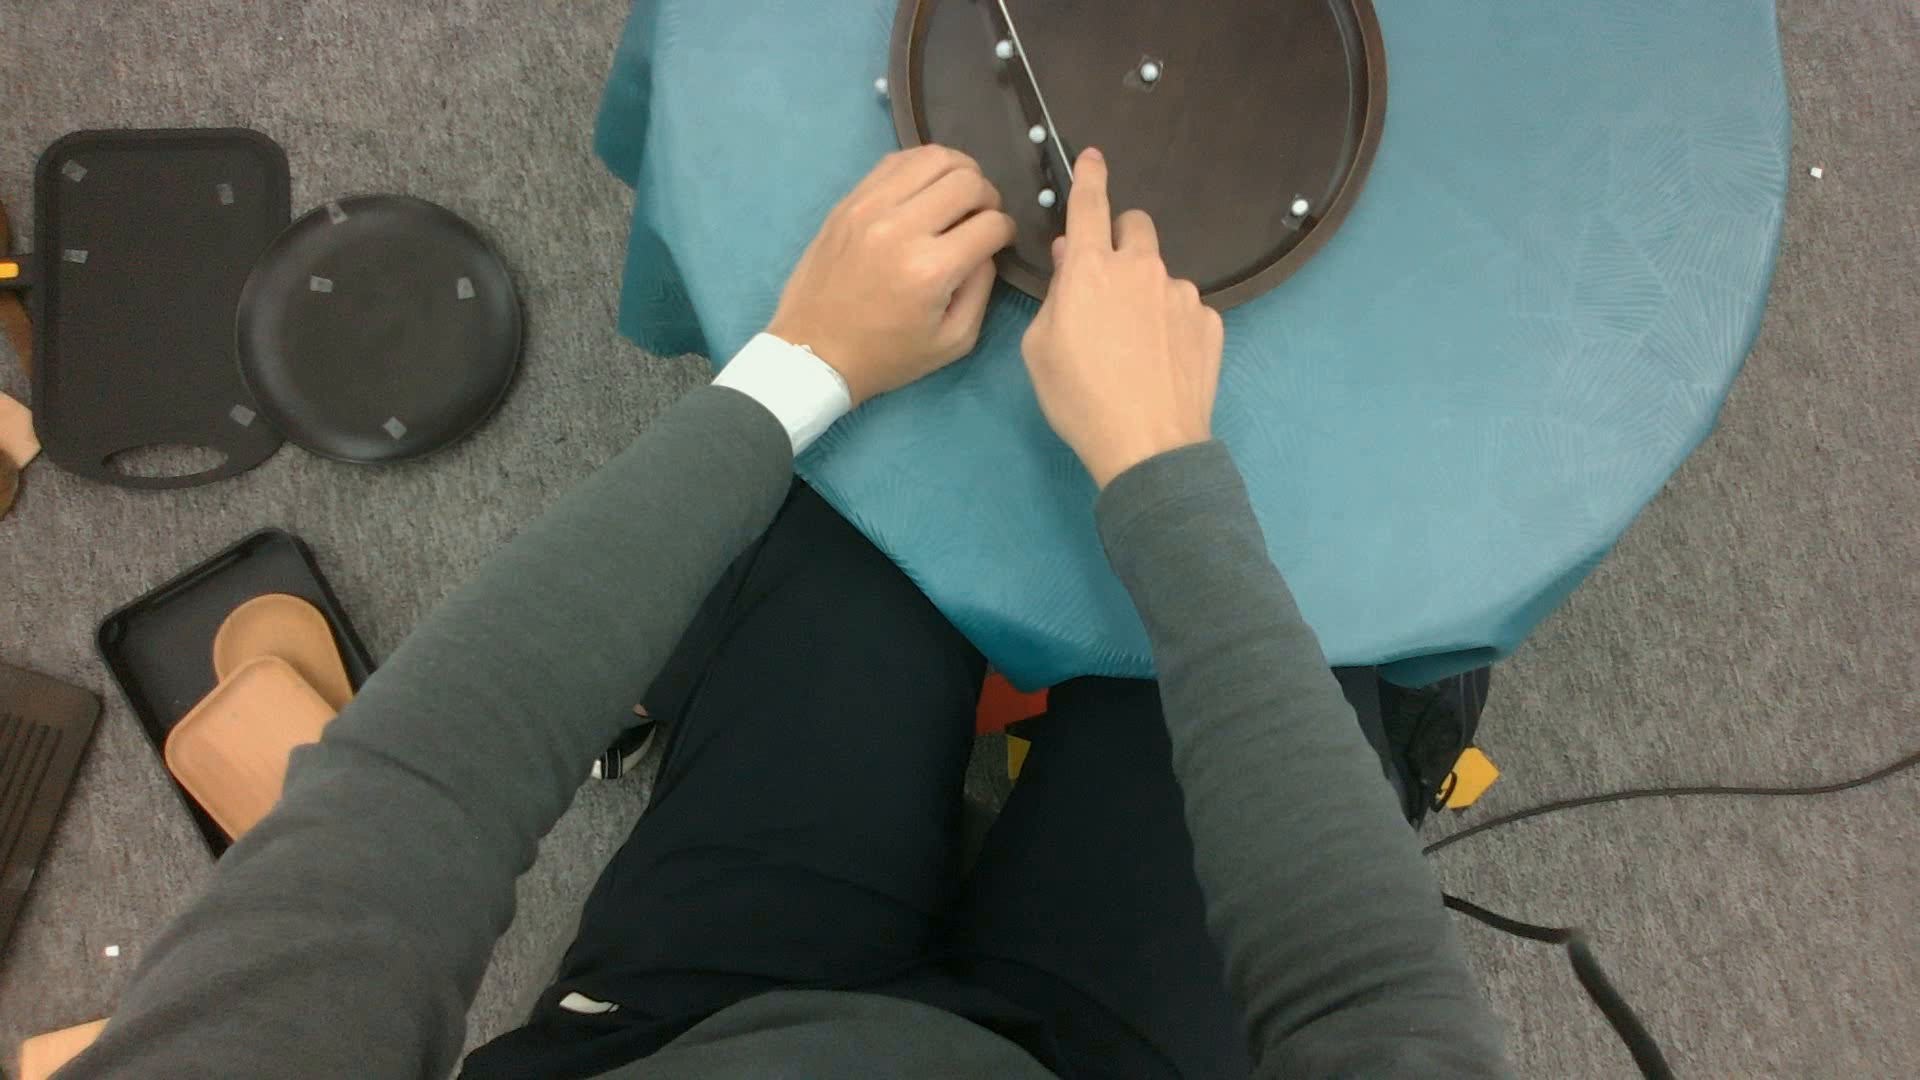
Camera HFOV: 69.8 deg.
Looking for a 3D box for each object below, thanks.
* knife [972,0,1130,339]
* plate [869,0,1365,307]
[{"bbox_3d":[0.034,-0.203,0.668,0.016,0.024,0.238,-20,74,-2],"label":"knife"},{"bbox_3d":[0.081,-0.241,0.703,0.255,0.029,0.255,0,83,-4],"label":"plate"}]
